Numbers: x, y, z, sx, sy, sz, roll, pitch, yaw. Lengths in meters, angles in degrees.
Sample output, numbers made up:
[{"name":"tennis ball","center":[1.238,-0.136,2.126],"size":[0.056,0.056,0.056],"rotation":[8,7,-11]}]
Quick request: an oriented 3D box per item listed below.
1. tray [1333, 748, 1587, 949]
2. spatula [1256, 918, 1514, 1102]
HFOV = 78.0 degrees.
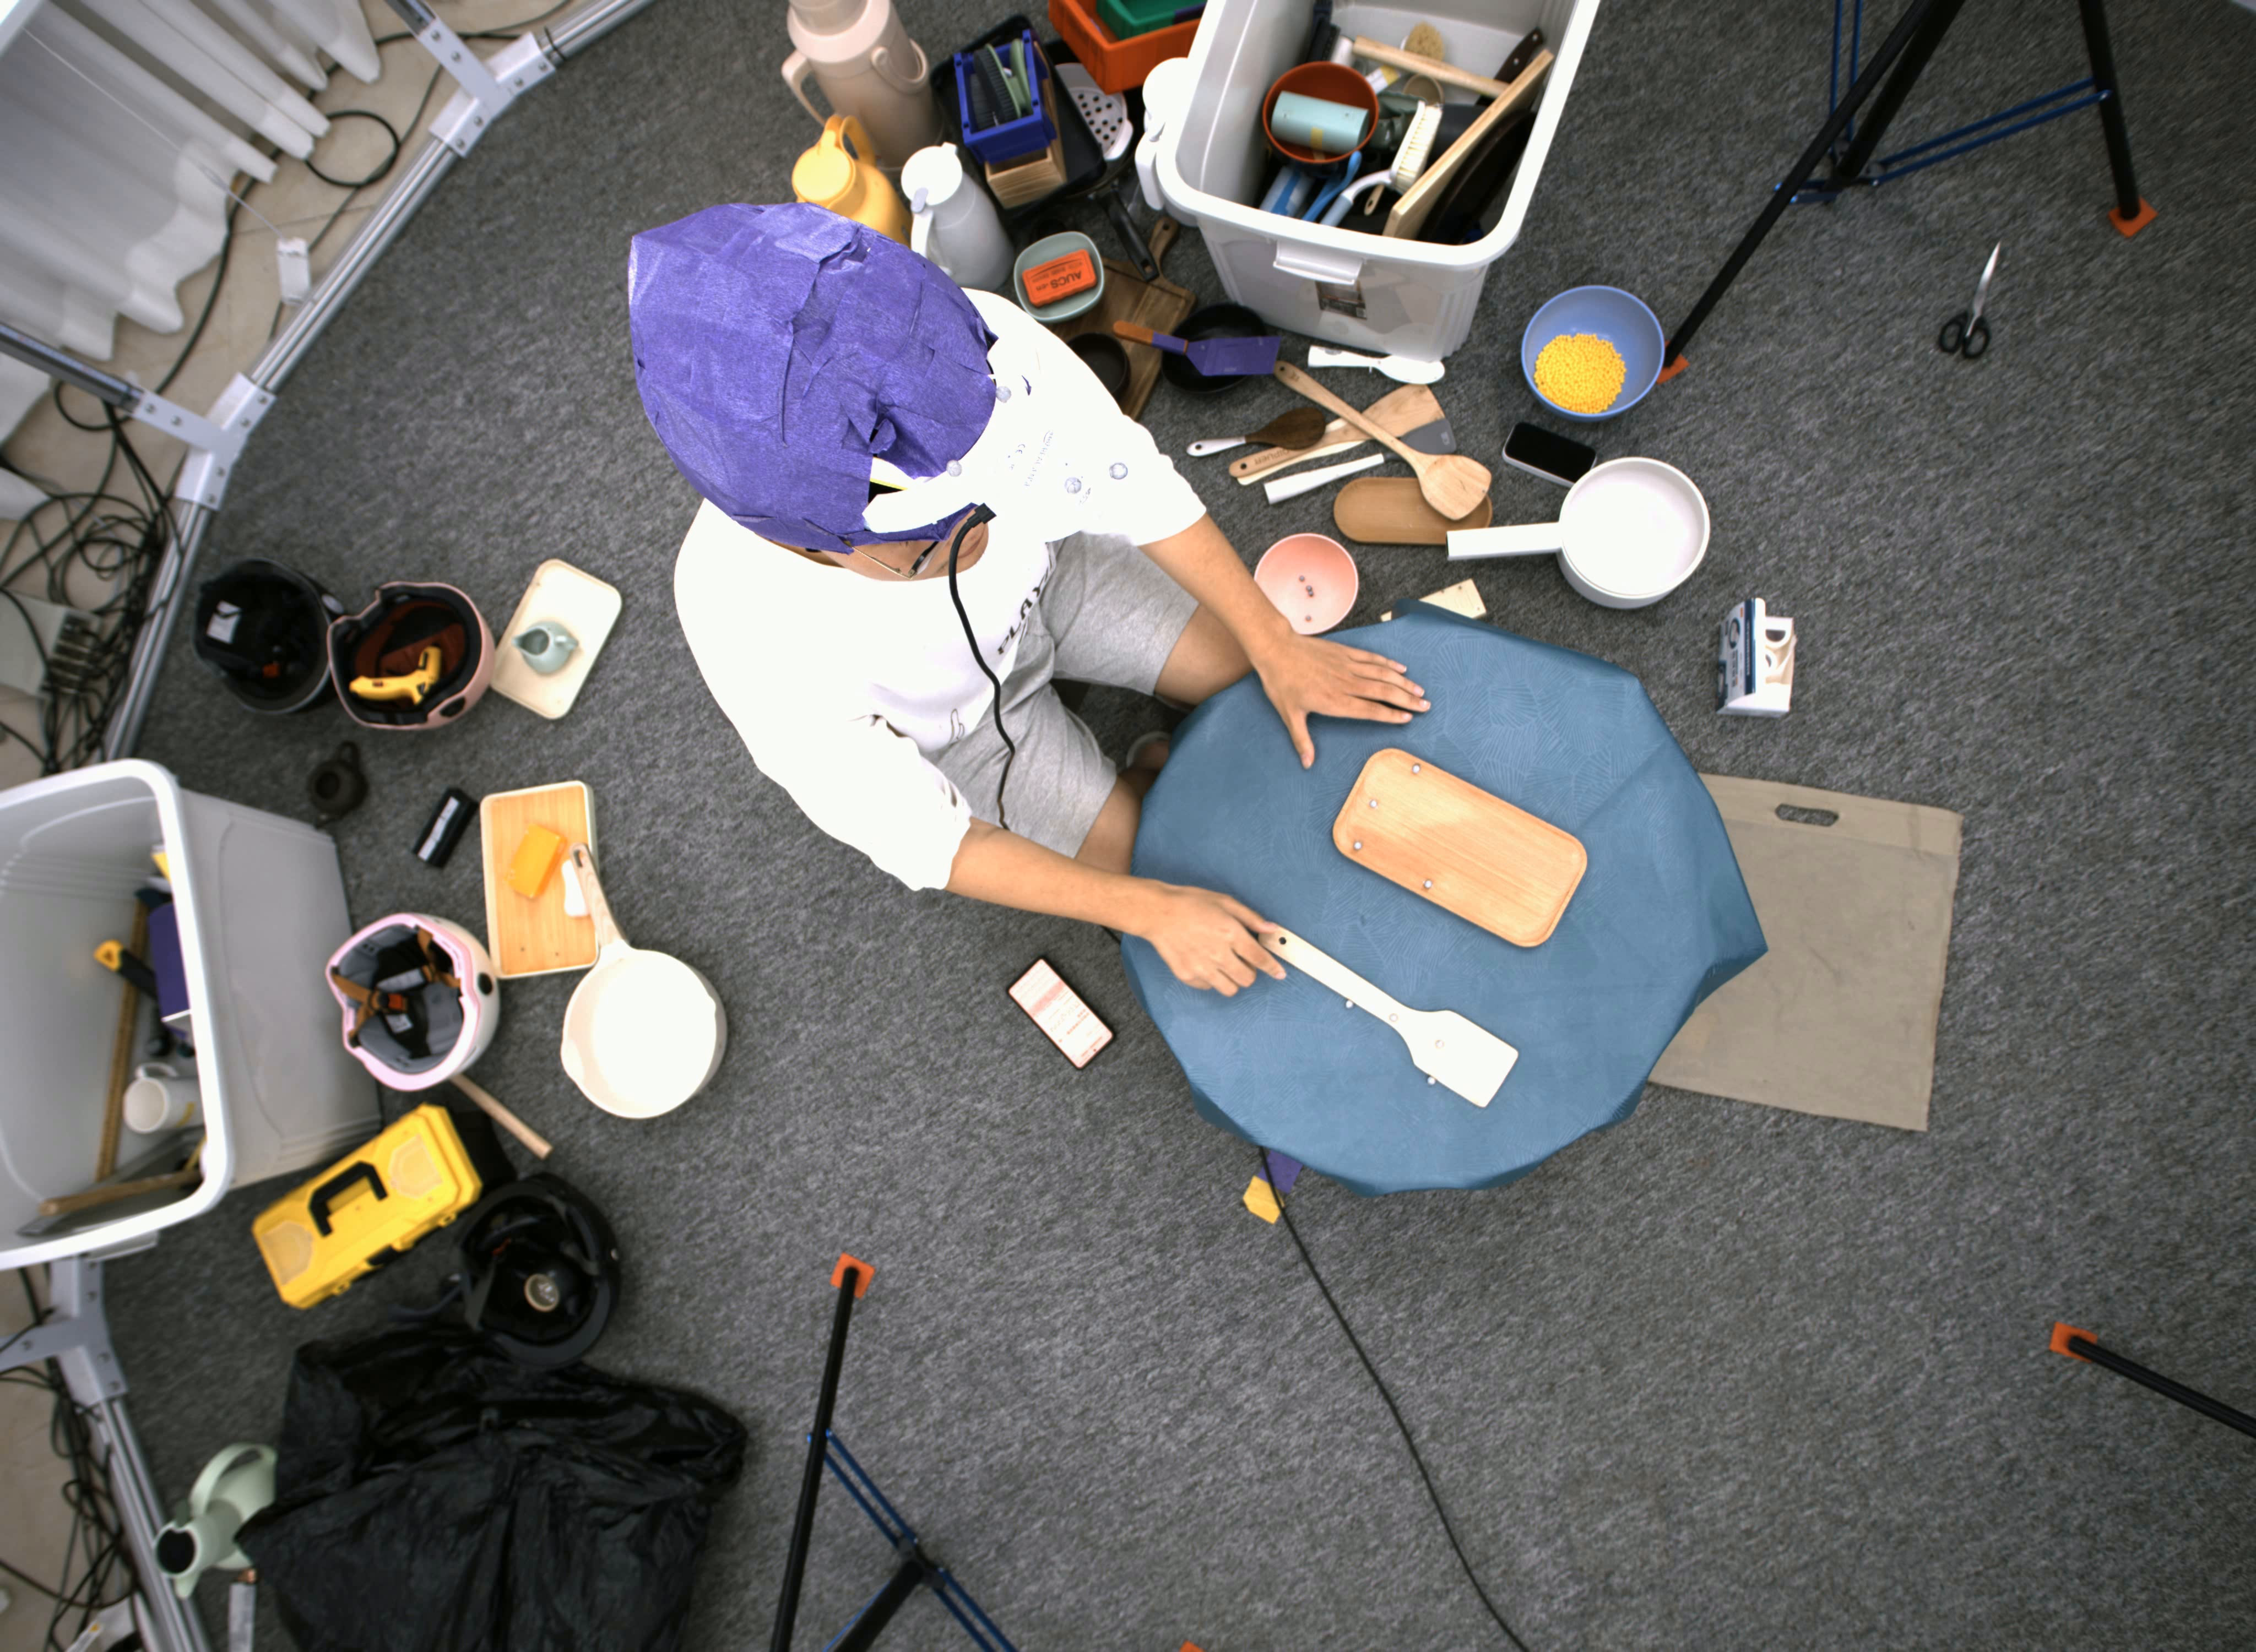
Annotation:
[{"name":"tray","center":[0.346,0.021,1.440],"size":[0.250,0.023,0.131],"rotation":[29,95,11]},{"name":"spatula","center":[0.261,0.182,1.450],"size":[0.292,0.010,0.072],"rotation":[32,94,11]}]
